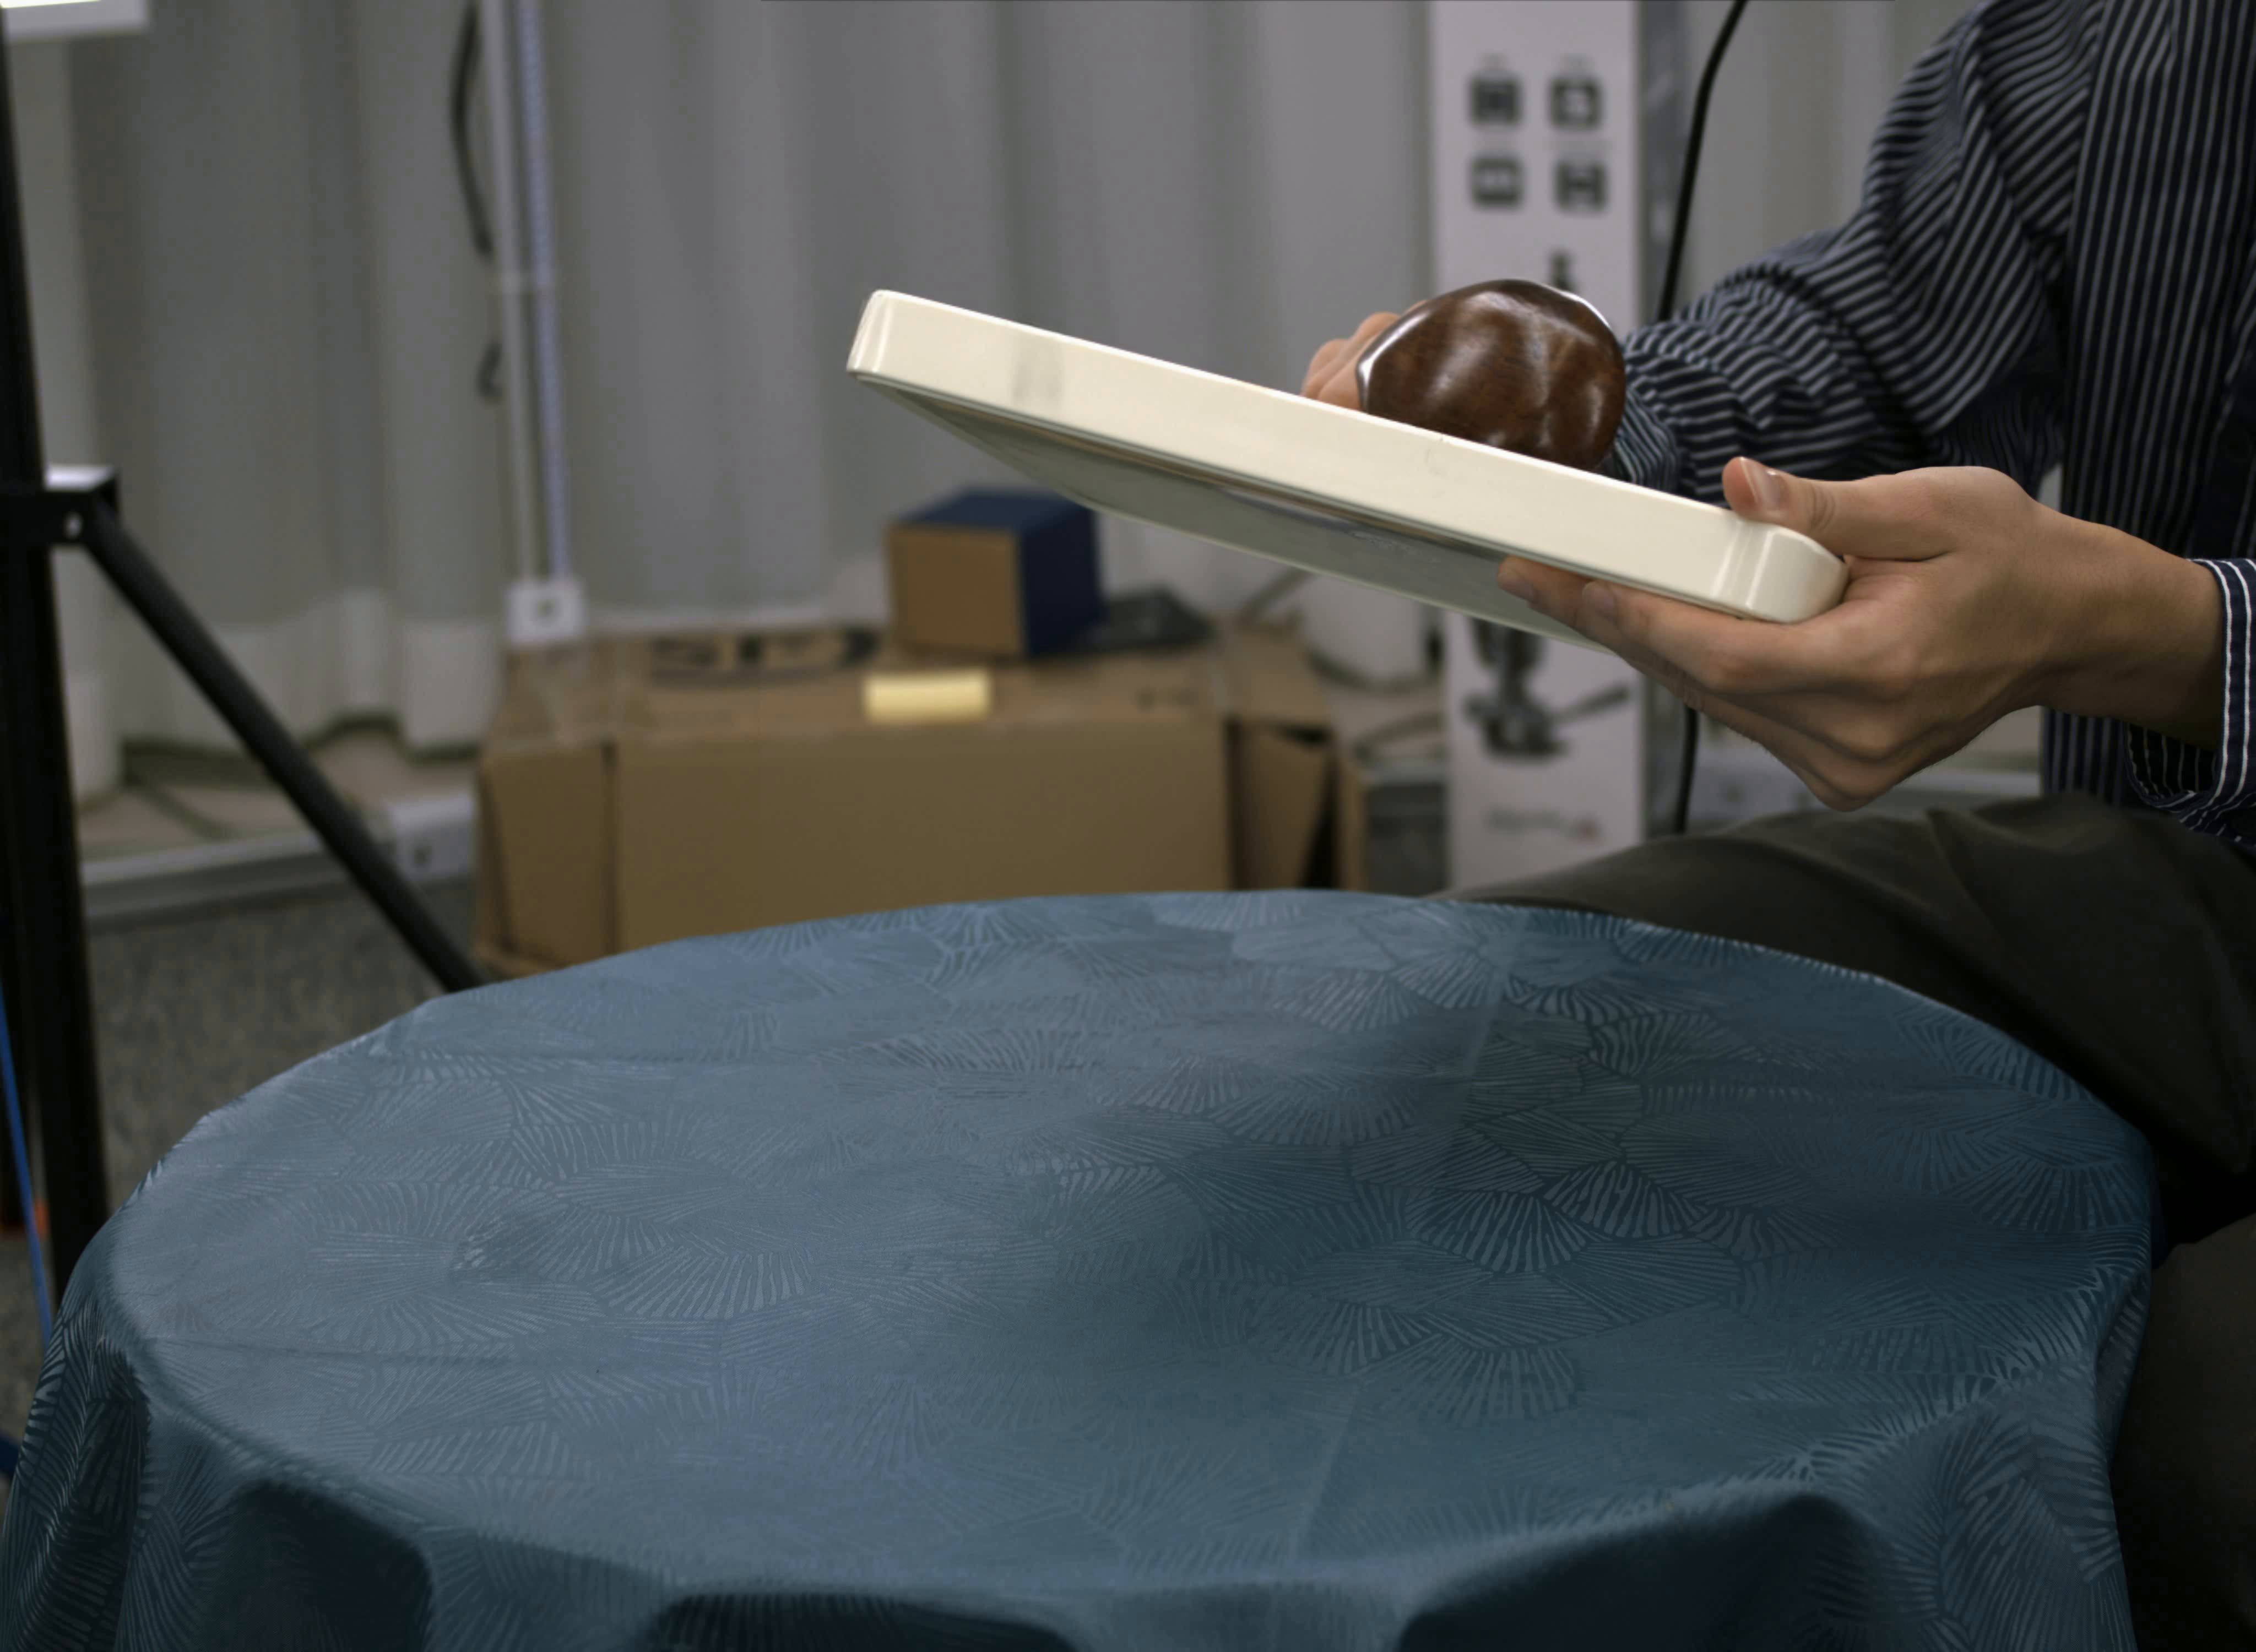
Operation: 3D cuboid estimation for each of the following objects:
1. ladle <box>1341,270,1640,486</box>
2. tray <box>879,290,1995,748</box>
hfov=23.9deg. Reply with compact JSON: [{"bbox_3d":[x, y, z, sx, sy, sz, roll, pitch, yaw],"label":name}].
[{"bbox_3d":[0.098,-0.112,1.609,0.082,0.077,0.274,-44,-2,-6],"label":"ladle"},{"bbox_3d":[0.090,-0.087,1.543,0.305,0.027,0.187,18,-3,28],"label":"tray"}]
